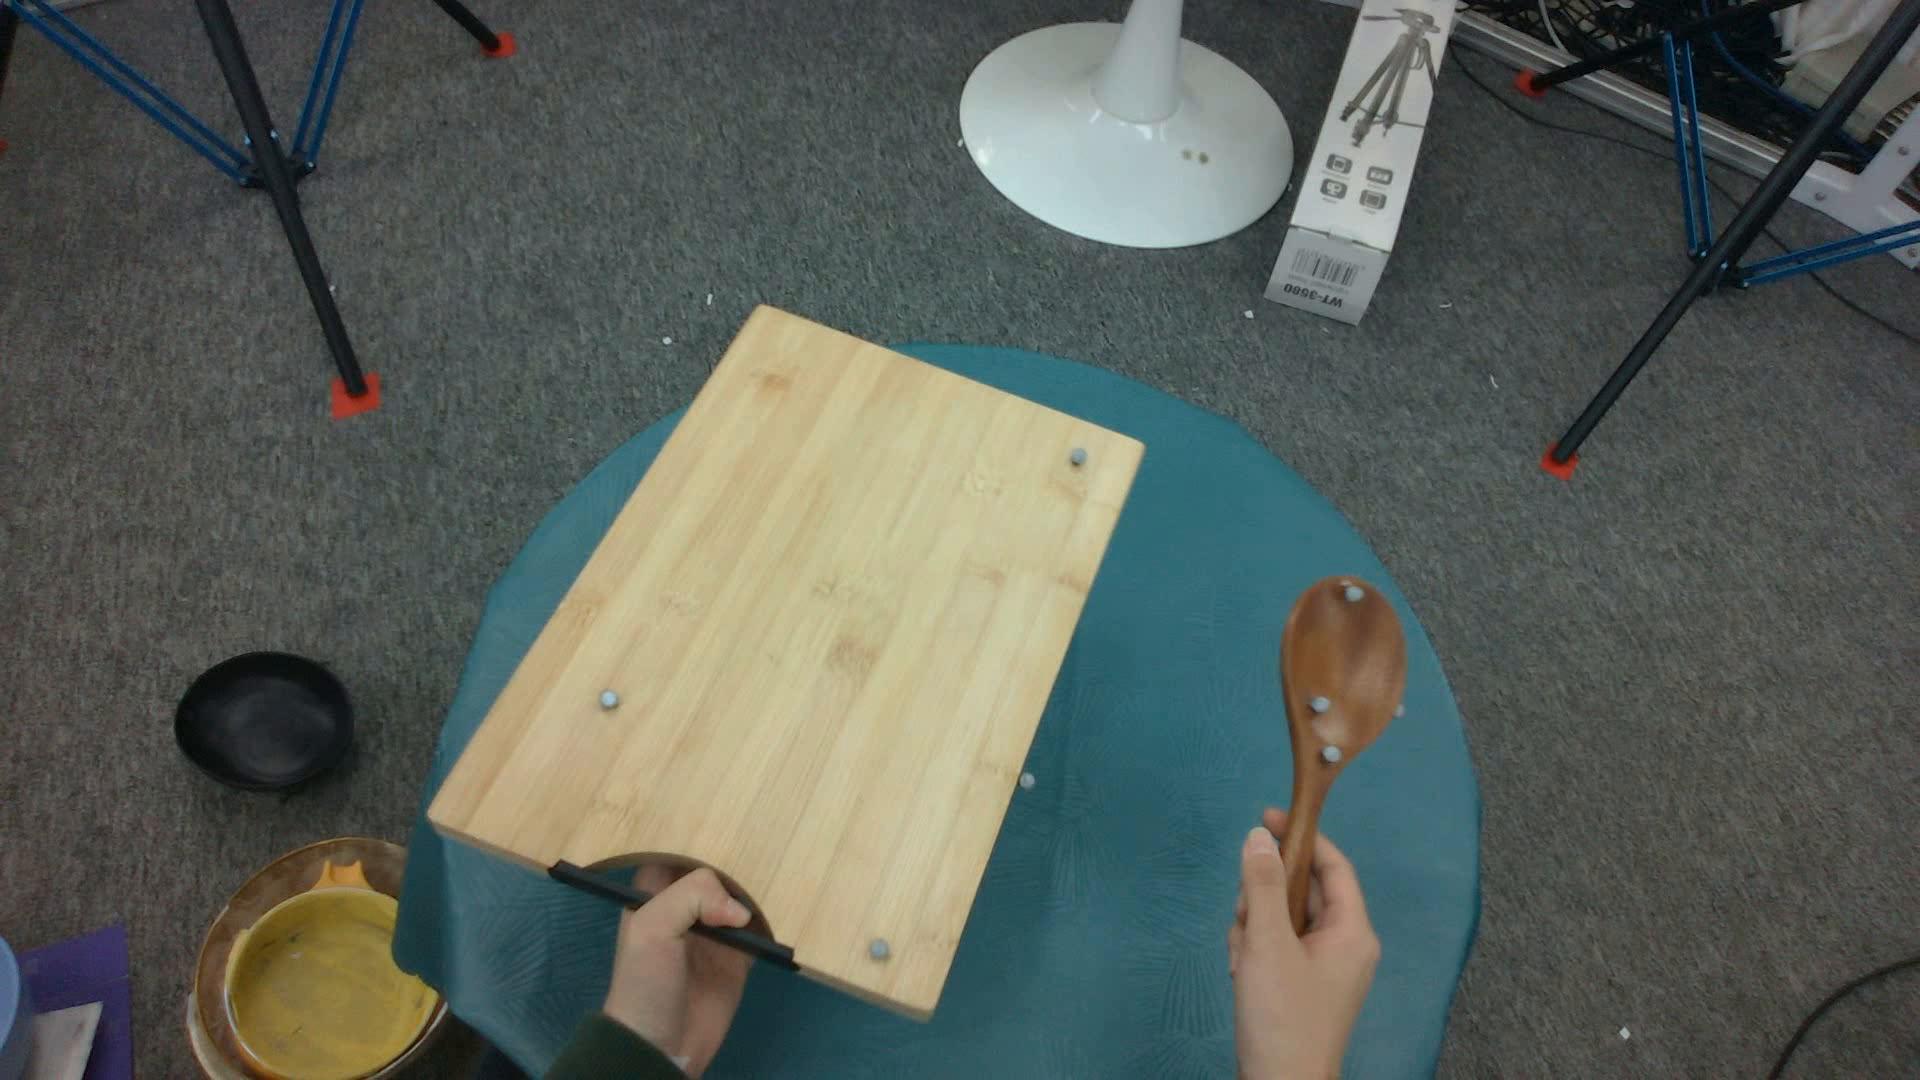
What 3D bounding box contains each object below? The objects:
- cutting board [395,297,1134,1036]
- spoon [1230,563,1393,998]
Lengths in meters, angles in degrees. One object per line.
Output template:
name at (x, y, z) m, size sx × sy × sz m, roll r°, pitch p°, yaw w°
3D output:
cutting board at (-0.075, 0.037, 0.692) m, size 0.250 × 0.023 × 0.350 m, roll 20°, pitch 56°, yaw 6°
spoon at (0.162, 0.109, 0.653) m, size 0.075 × 0.017 × 0.217 m, roll 30°, pitch 63°, yaw -19°
